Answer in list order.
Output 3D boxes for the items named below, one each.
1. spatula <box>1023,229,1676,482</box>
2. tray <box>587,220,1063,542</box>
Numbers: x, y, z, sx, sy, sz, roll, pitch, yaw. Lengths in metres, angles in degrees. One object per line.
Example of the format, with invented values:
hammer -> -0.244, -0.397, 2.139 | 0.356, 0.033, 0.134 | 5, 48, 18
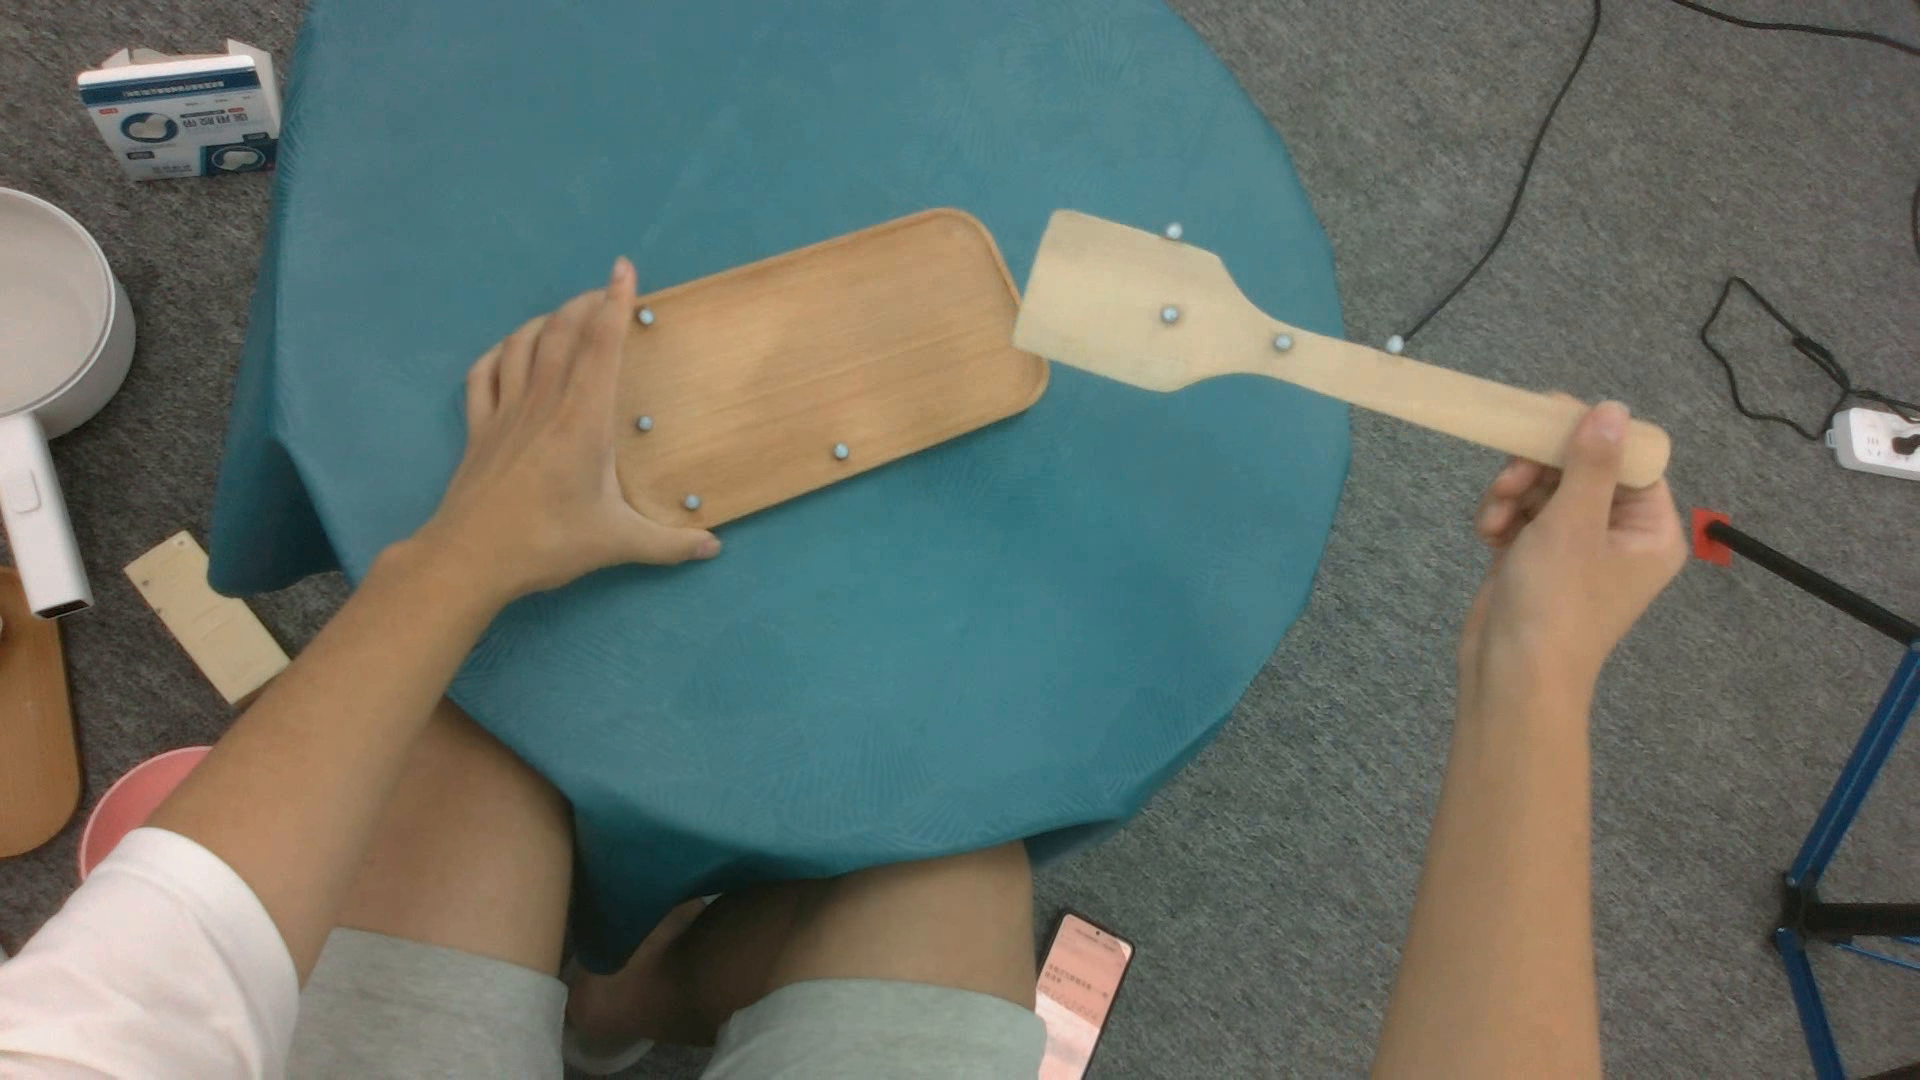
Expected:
spatula -> 0.170, -0.079, 0.629 | 0.293, 0.011, 0.072 | 18, 99, 19
tray -> -0.069, -0.091, 0.757 | 0.251, 0.023, 0.130 | -20, 84, -20
